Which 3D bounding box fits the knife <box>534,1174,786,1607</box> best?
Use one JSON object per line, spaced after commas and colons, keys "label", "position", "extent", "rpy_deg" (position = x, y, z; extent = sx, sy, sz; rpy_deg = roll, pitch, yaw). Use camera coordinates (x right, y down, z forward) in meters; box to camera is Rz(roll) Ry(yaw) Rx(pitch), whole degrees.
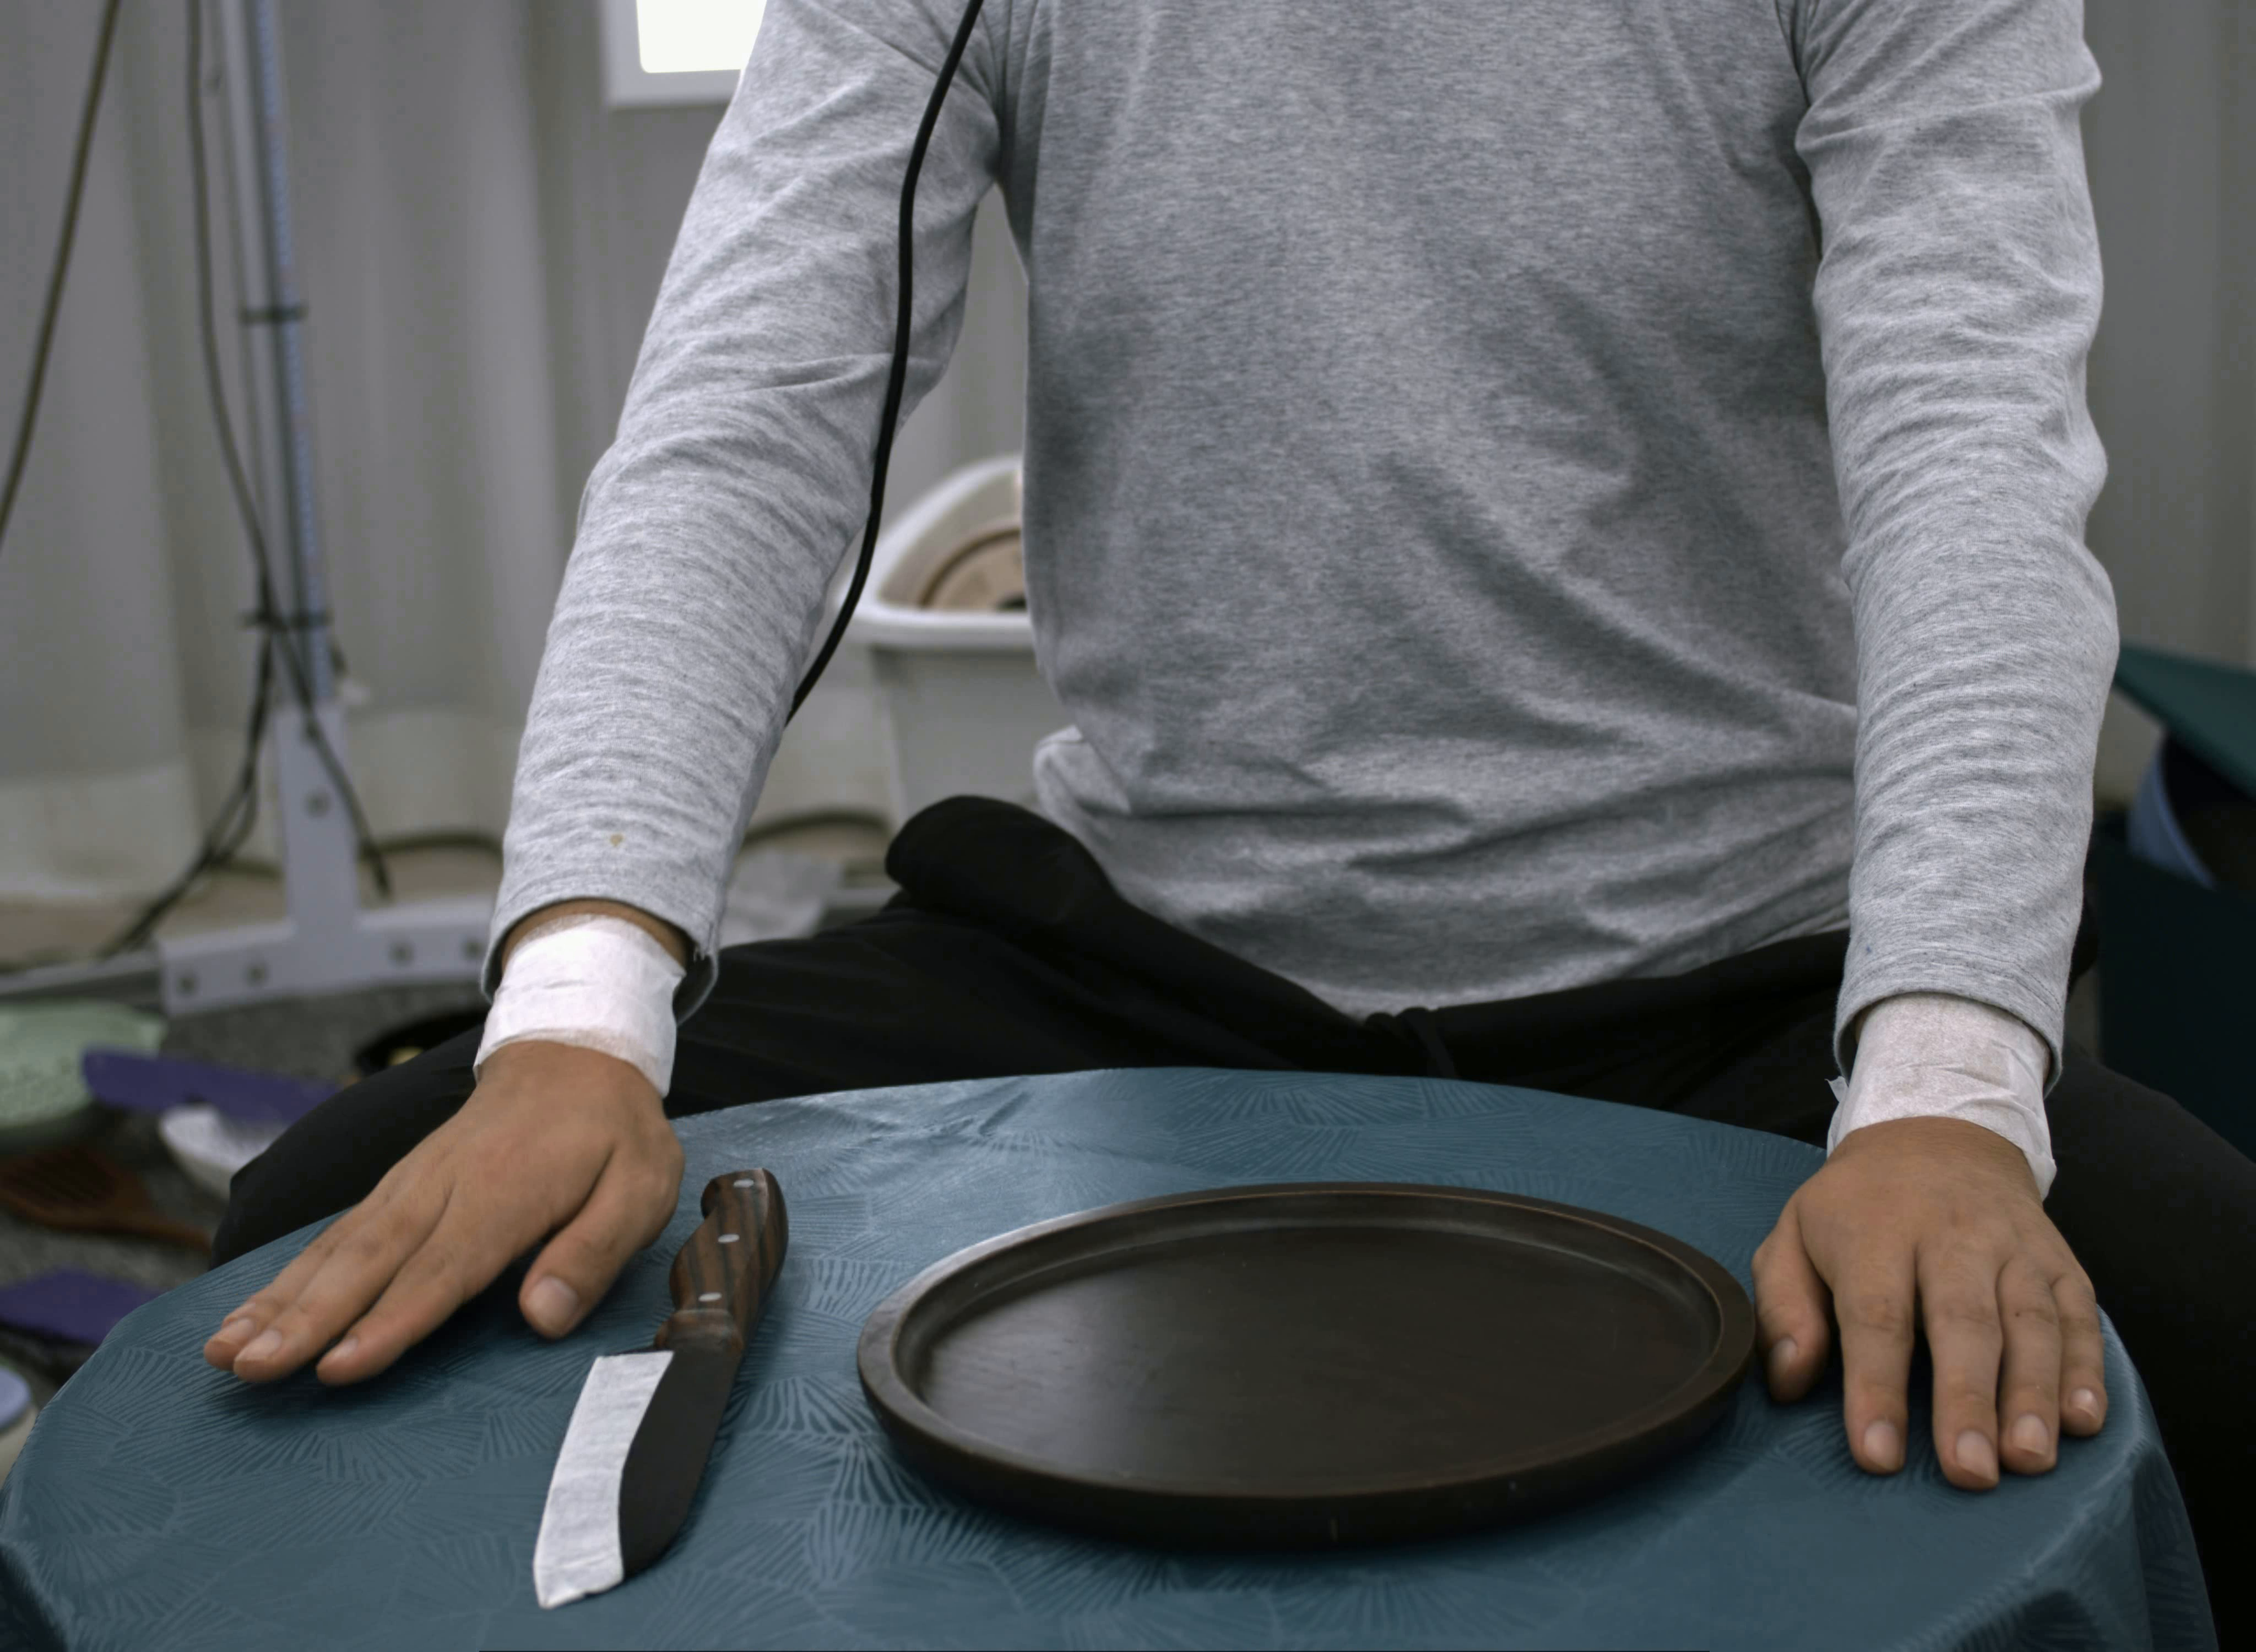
{"label": "knife", "position": [-0.131, 0.158, 1.548], "extent": [0.050, 0.020, 0.291], "rpy_deg": [-6, 17, 8]}

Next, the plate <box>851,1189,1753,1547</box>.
{"label": "plate", "position": [0.049, 0.149, 1.532], "extent": [0.254, 0.029, 0.256], "rpy_deg": [-4, 13, 1]}
